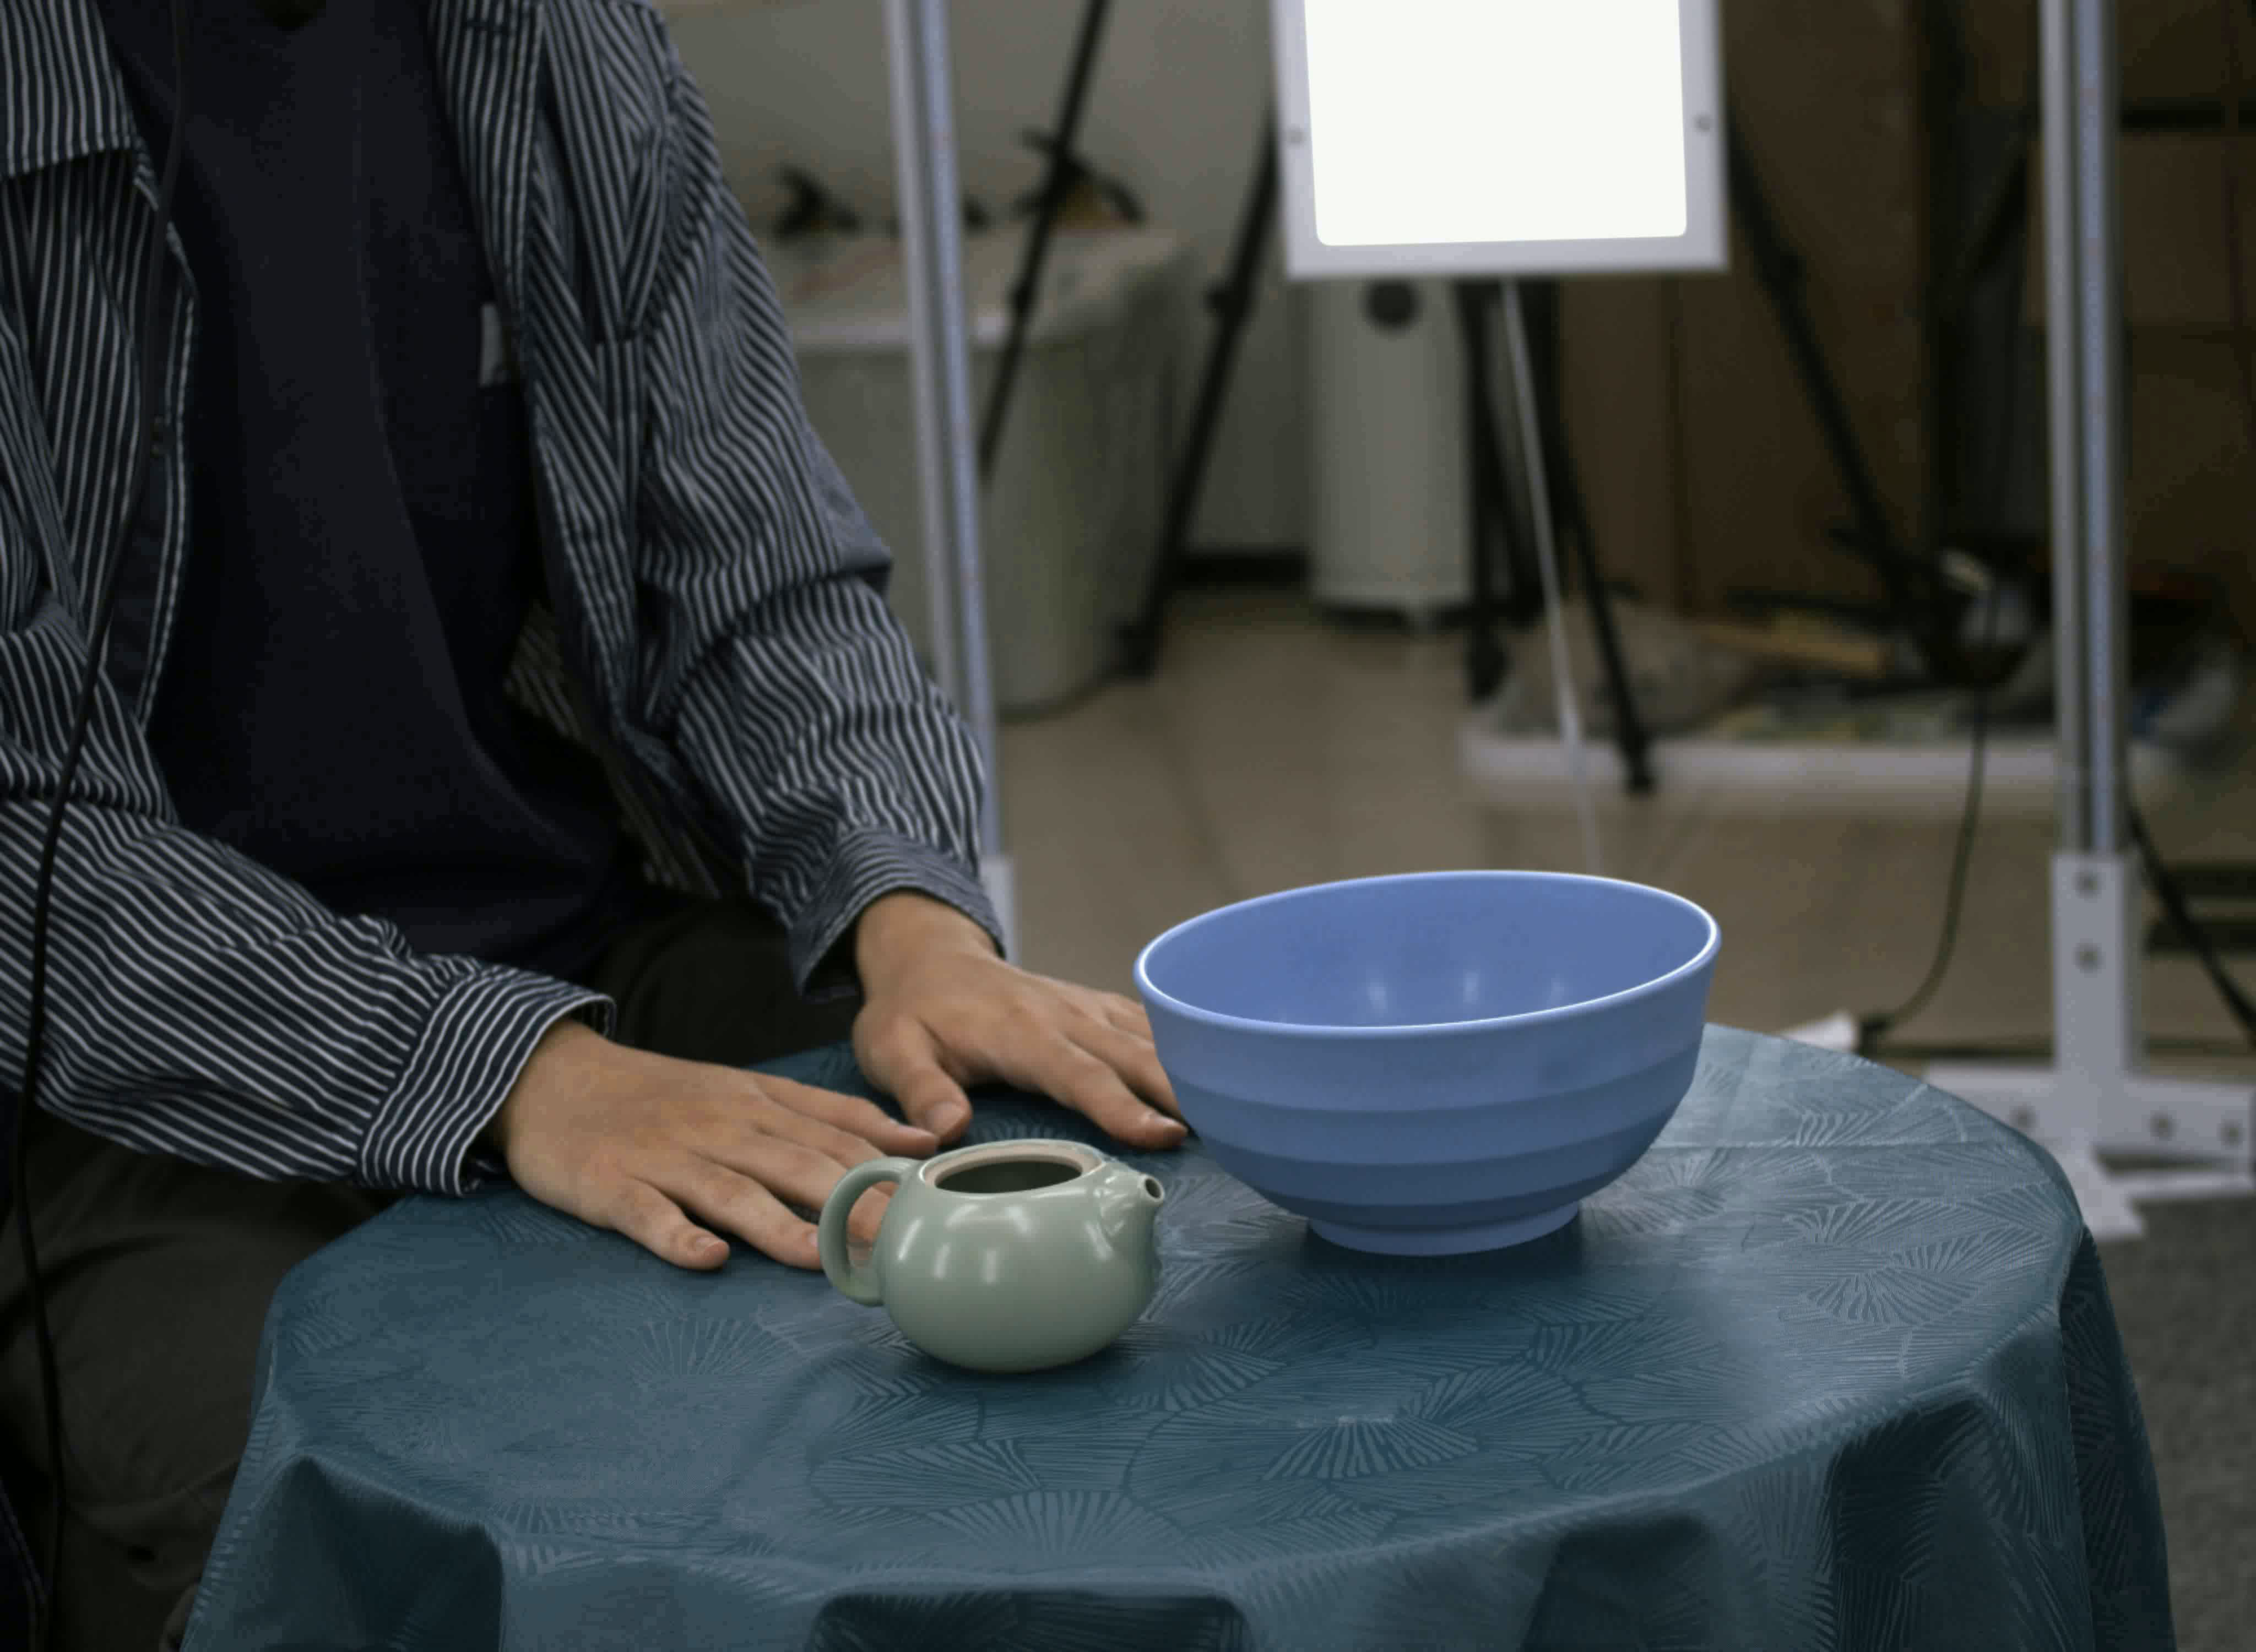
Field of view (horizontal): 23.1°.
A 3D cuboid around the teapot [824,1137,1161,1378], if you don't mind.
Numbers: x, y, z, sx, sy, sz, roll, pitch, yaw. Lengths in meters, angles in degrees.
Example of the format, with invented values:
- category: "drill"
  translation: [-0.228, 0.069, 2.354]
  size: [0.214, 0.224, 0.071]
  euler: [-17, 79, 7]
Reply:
- category: "teapot"
  translation: [-0.043, 0.136, 1.746]
  size: [0.131, 0.061, 0.089]
  euler: [3, 18, 34]

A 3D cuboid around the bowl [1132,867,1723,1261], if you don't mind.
- category: "bowl"
  translation: [0.103, 0.085, 1.829]
  size: [0.196, 0.096, 0.196]
  euler: [-6, 14, 0]
